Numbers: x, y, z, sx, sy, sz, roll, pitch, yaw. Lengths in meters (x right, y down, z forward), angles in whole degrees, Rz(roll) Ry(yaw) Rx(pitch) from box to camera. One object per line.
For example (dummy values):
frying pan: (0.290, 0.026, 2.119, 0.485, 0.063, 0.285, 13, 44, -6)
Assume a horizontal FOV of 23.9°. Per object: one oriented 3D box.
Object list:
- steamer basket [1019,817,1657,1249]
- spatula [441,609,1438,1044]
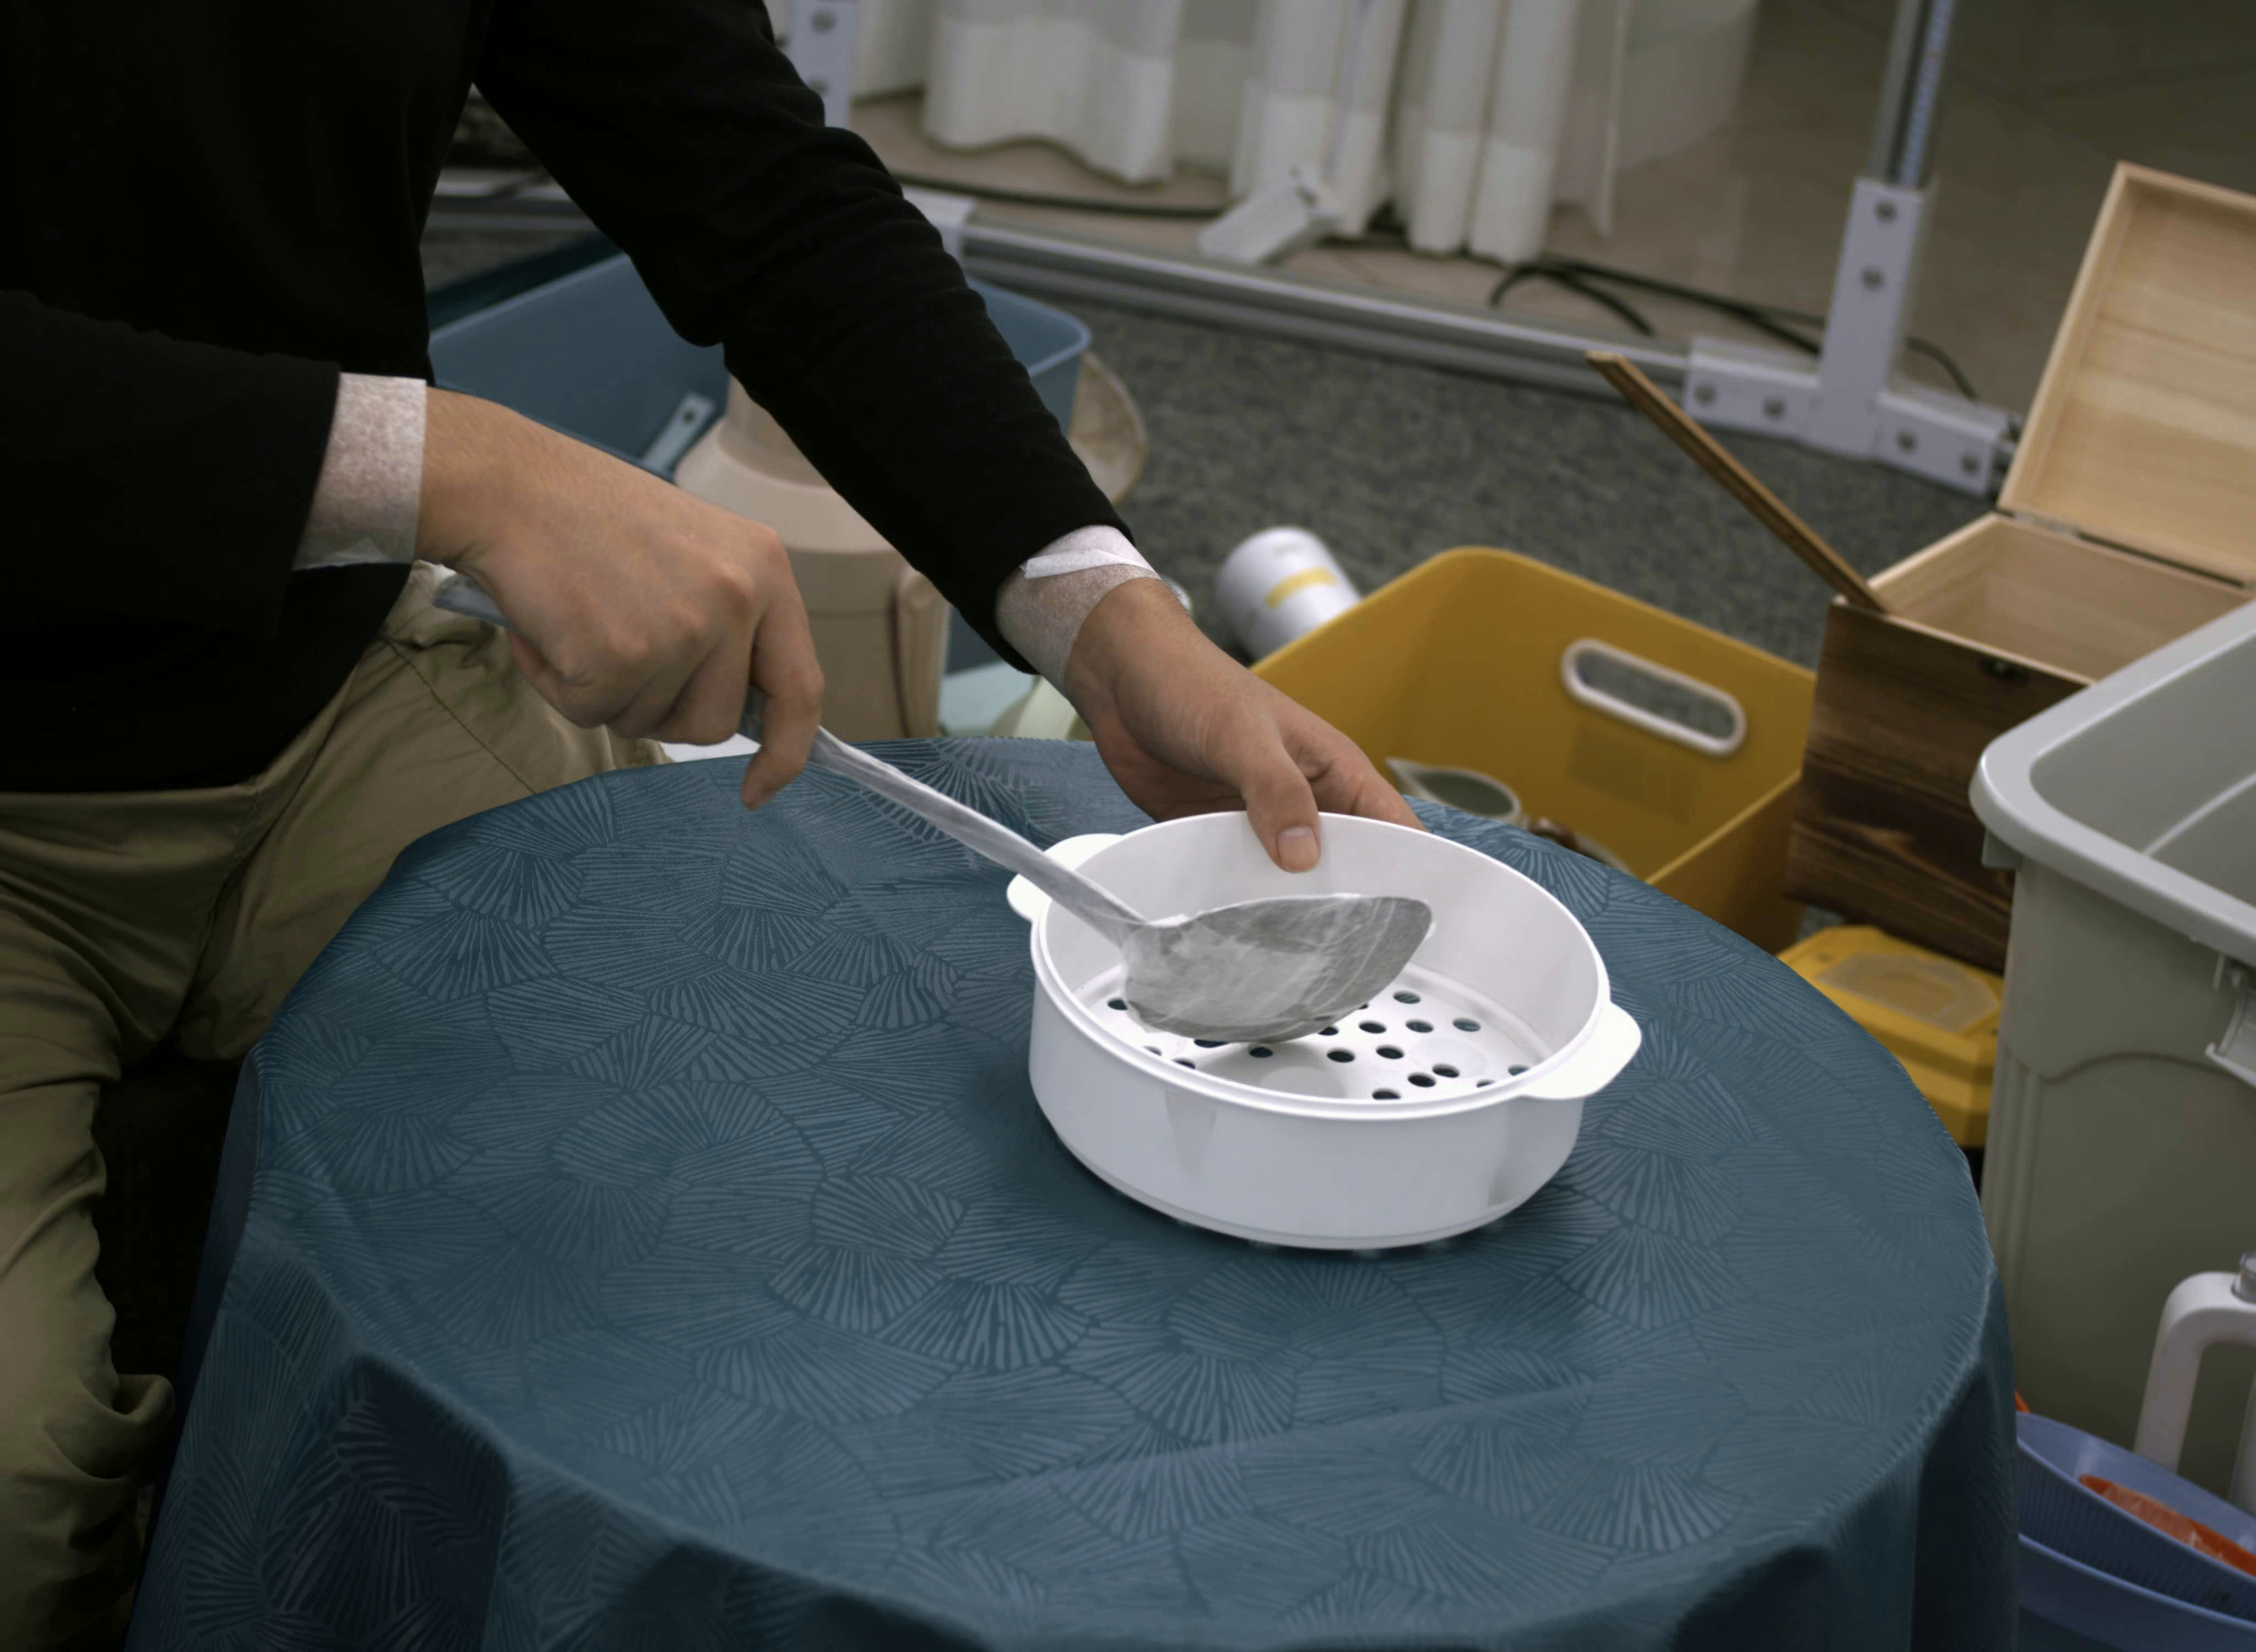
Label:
steamer basket: (0.068, 0.071, 1.837, 0.231, 0.069, 0.201, 19, 31, 24)
spatula: (-0.062, -0.006, 1.785, 0.362, 0.098, 0.045, 27, 45, -19)
